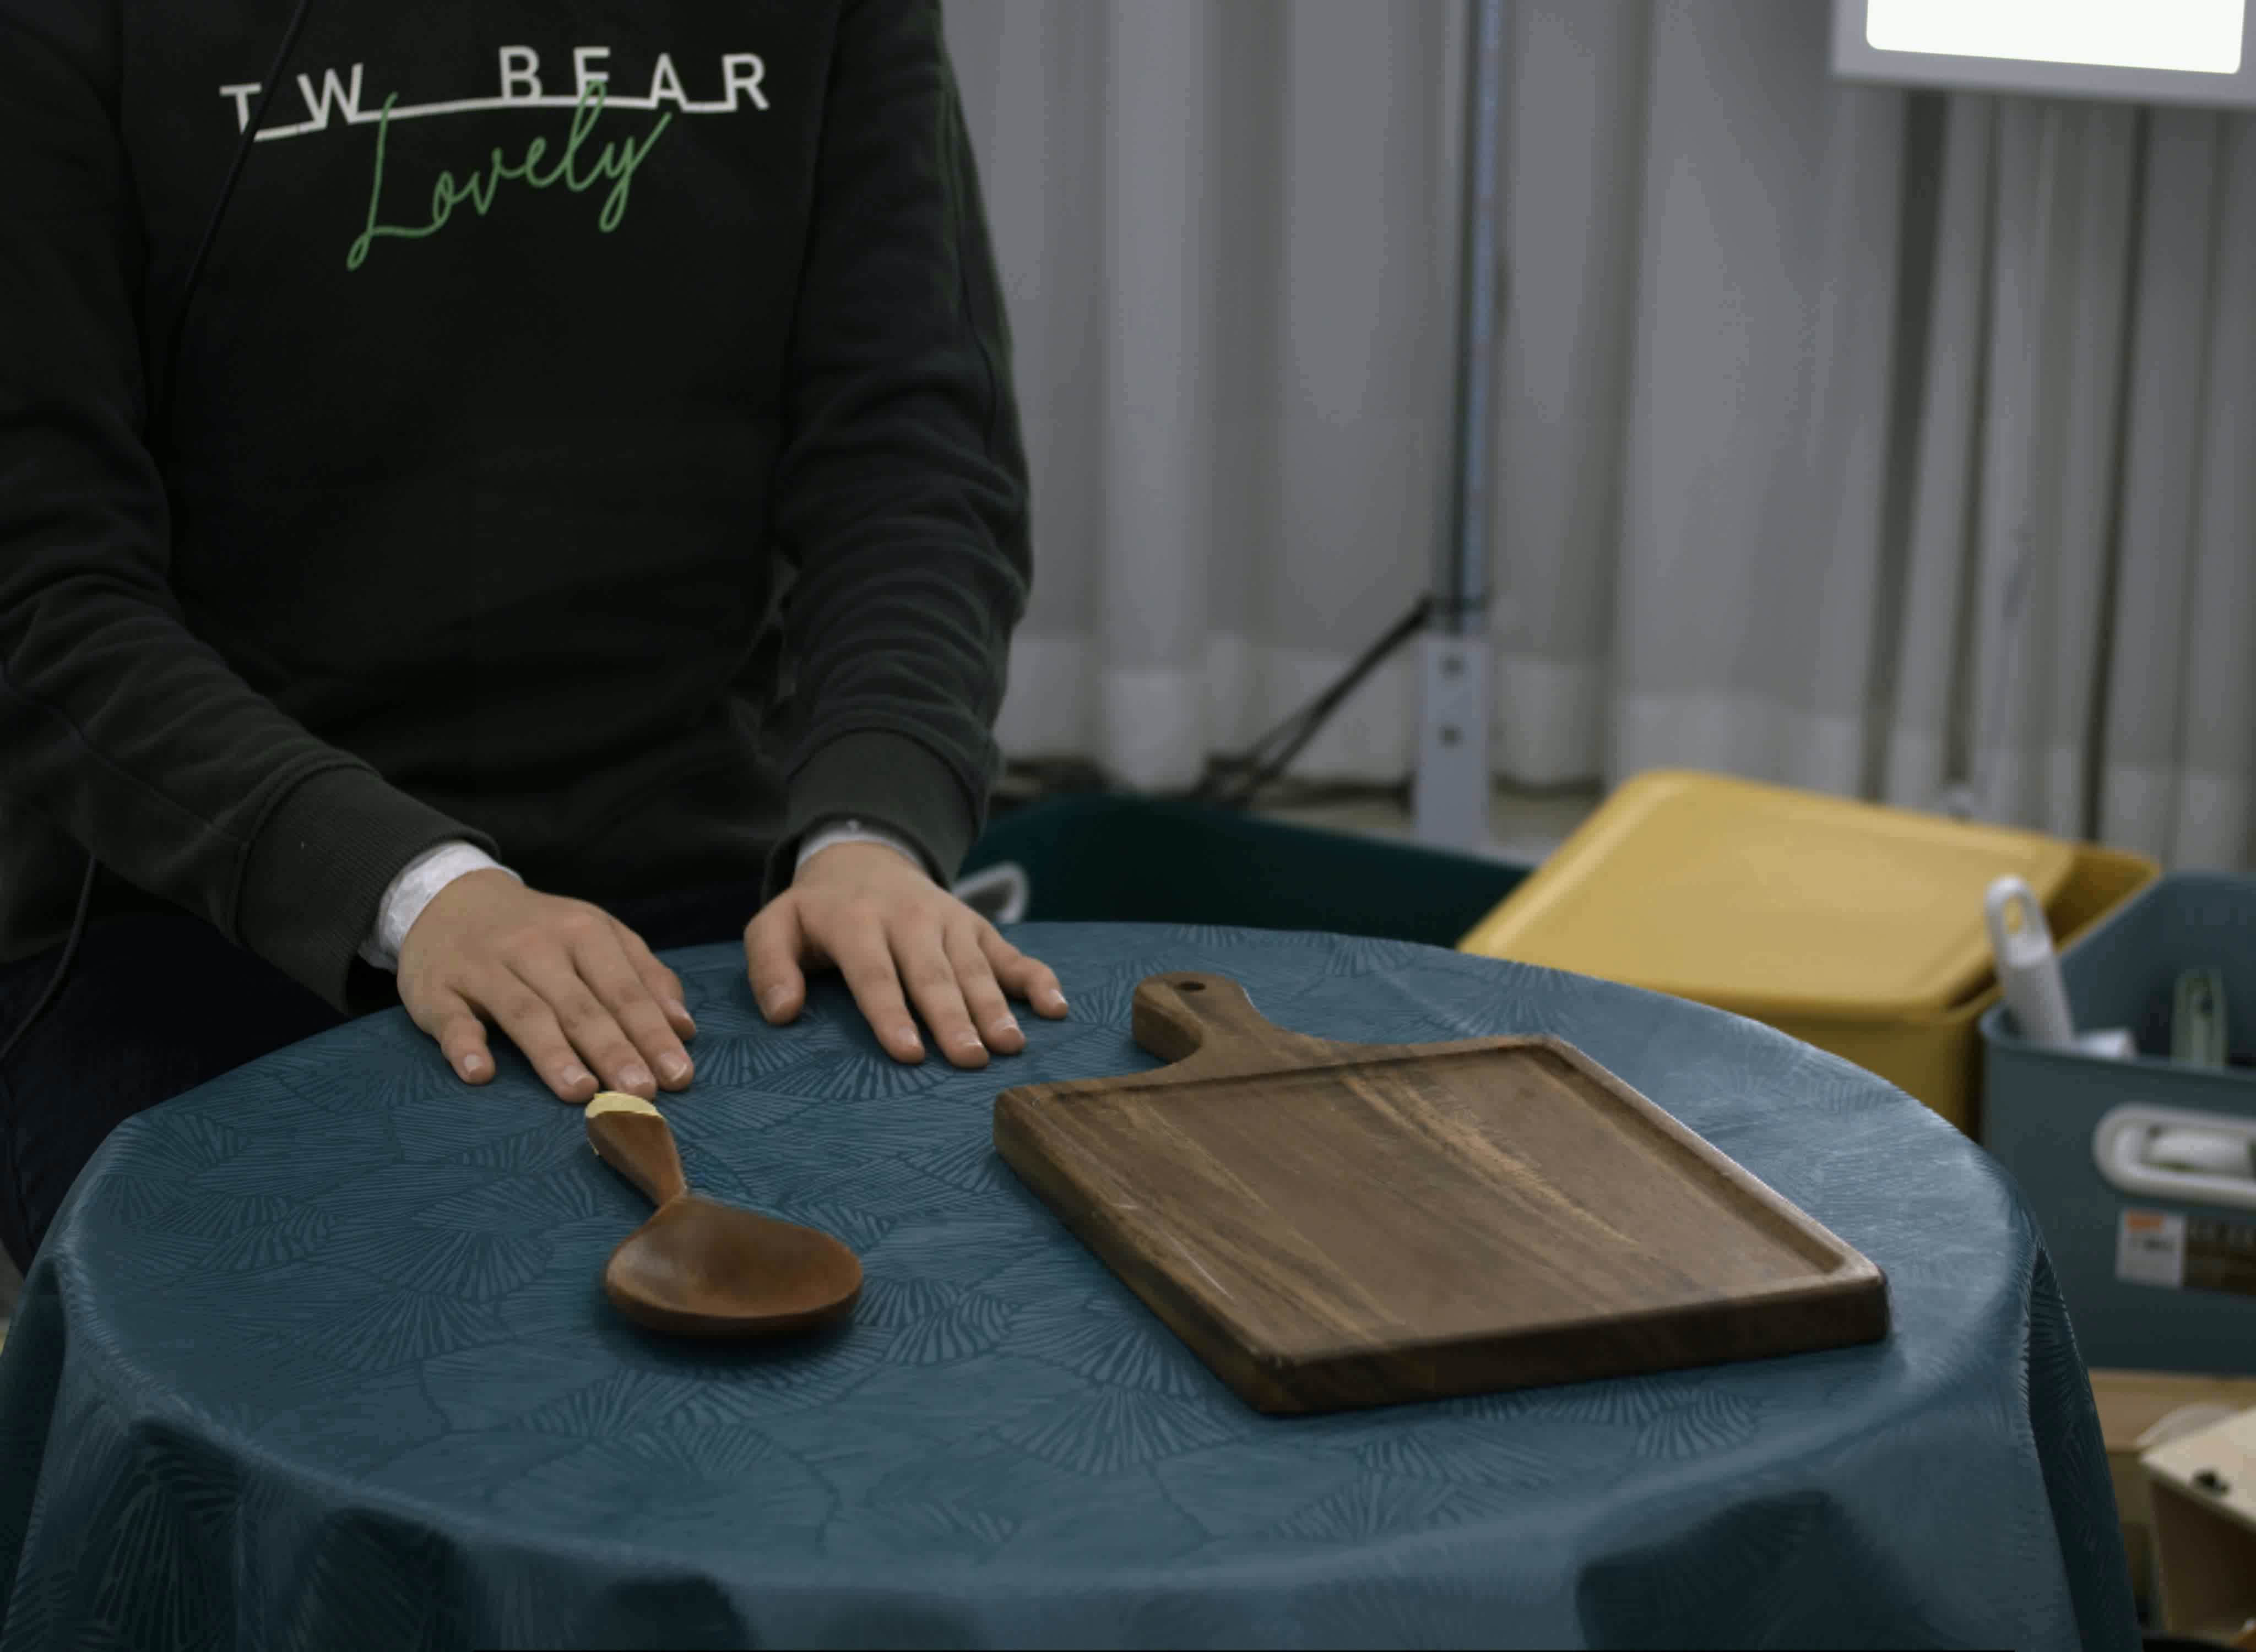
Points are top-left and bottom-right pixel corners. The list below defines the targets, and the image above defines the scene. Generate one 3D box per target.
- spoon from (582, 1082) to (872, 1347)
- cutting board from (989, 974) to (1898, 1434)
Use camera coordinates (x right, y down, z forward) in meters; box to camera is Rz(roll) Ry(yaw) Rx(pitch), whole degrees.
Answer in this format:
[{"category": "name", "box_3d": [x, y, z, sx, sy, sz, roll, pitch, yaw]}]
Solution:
[{"category": "spoon", "box_3d": [-0.131, 0.117, 1.574, 0.075, 0.017, 0.213, -6, 18, -16]}, {"category": "cutting board", "box_3d": [0.072, 0.104, 1.628, 0.201, 0.023, 0.348, -6, 17, -19]}]
